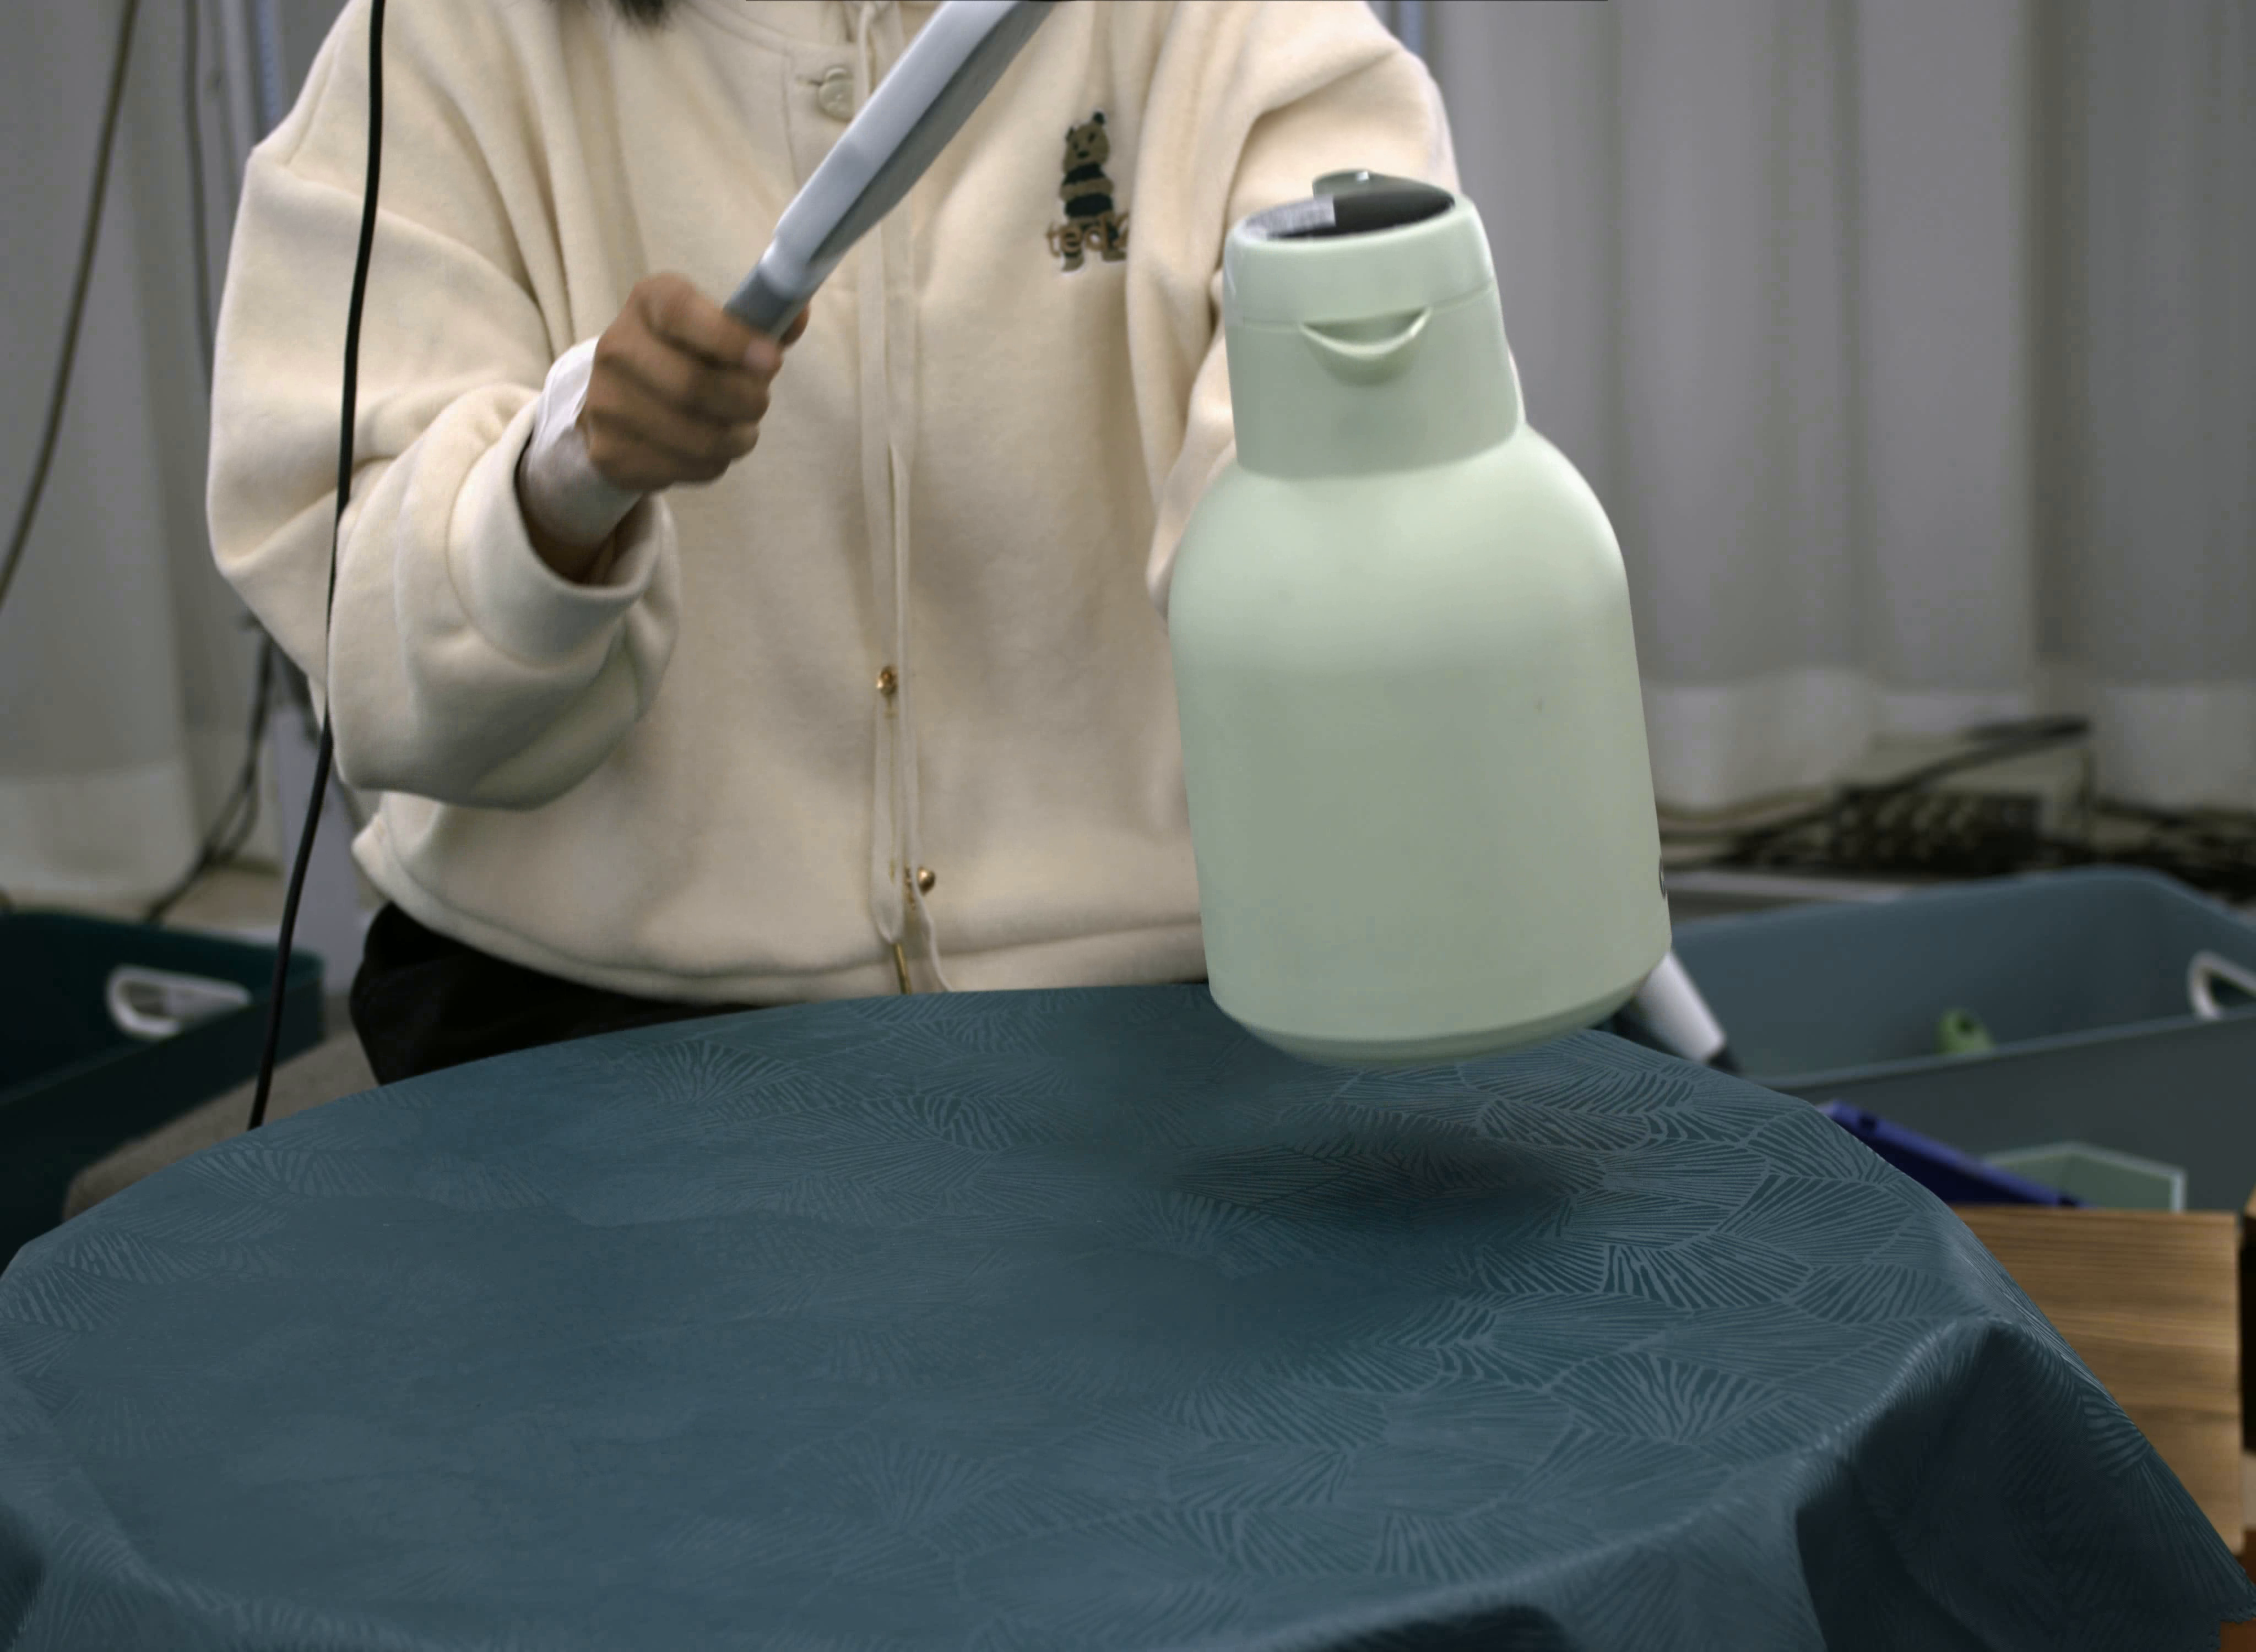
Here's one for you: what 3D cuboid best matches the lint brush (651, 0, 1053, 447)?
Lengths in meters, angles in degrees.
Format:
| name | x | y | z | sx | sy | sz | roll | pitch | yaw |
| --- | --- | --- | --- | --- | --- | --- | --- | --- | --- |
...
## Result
| name | x | y | z | sx | sy | sz | roll | pitch | yaw |
| --- | --- | --- | --- | --- | --- | --- | --- | --- | --- |
| lint brush | -0.089 | -0.194 | 1.715 | 0.060 | 0.021 | 0.307 | -44 | 0 | -34 |

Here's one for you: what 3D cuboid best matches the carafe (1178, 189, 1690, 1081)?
| name | x | y | z | sx | sy | sz | roll | pitch | yaw |
| --- | --- | --- | --- | --- | --- | --- | --- | --- | --- |
| carafe | 0.085 | -0.064 | 1.683 | 0.144 | 0.256 | 0.188 | -9 | 12 | 3 |
